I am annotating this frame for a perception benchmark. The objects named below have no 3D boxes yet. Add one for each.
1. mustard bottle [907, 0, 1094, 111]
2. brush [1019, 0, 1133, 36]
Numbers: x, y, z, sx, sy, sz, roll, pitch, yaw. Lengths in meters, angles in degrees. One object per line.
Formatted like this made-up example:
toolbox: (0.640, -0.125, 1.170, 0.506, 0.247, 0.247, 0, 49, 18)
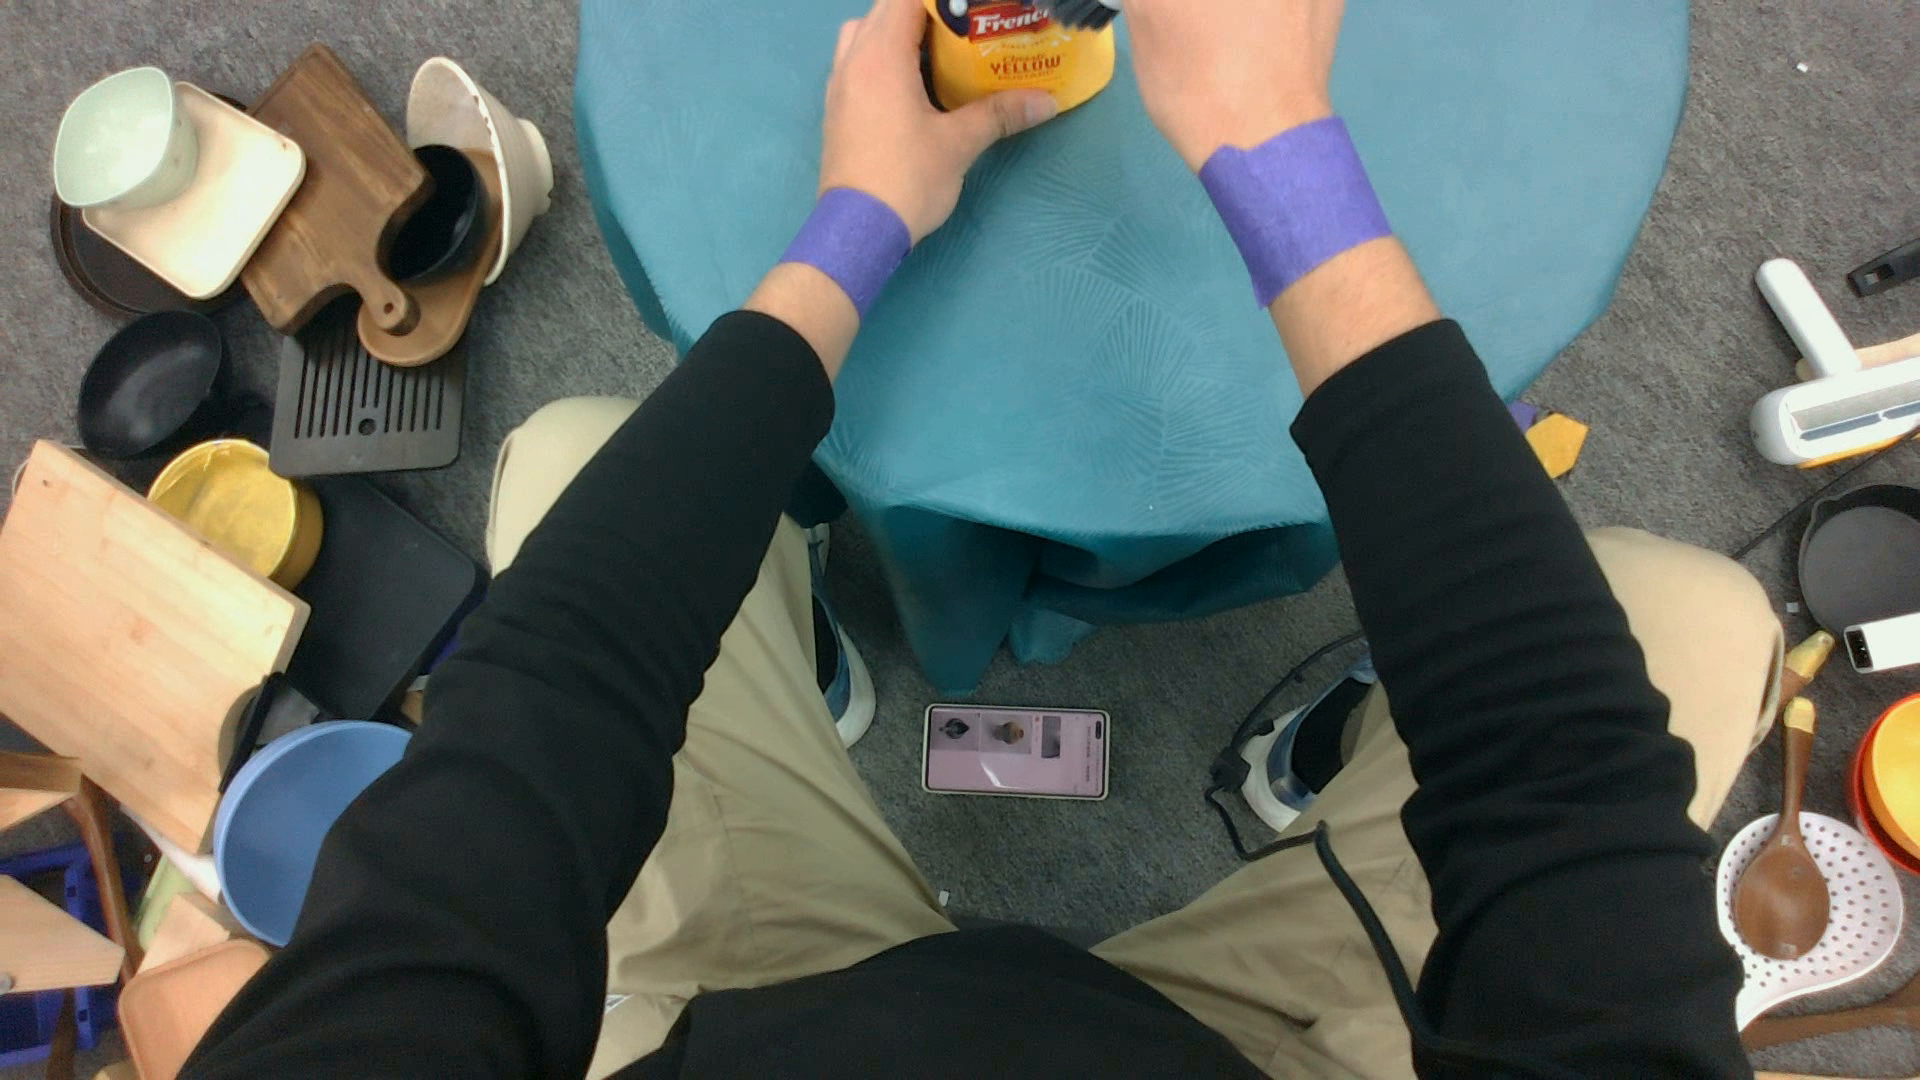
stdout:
mustard bottle: (0.020, -0.268, 0.664, 0.098, 0.172, 0.059, -9, 84, 0)
brush: (0.057, -0.266, 0.557, 0.050, 0.072, 0.099, -5, 89, -39)
